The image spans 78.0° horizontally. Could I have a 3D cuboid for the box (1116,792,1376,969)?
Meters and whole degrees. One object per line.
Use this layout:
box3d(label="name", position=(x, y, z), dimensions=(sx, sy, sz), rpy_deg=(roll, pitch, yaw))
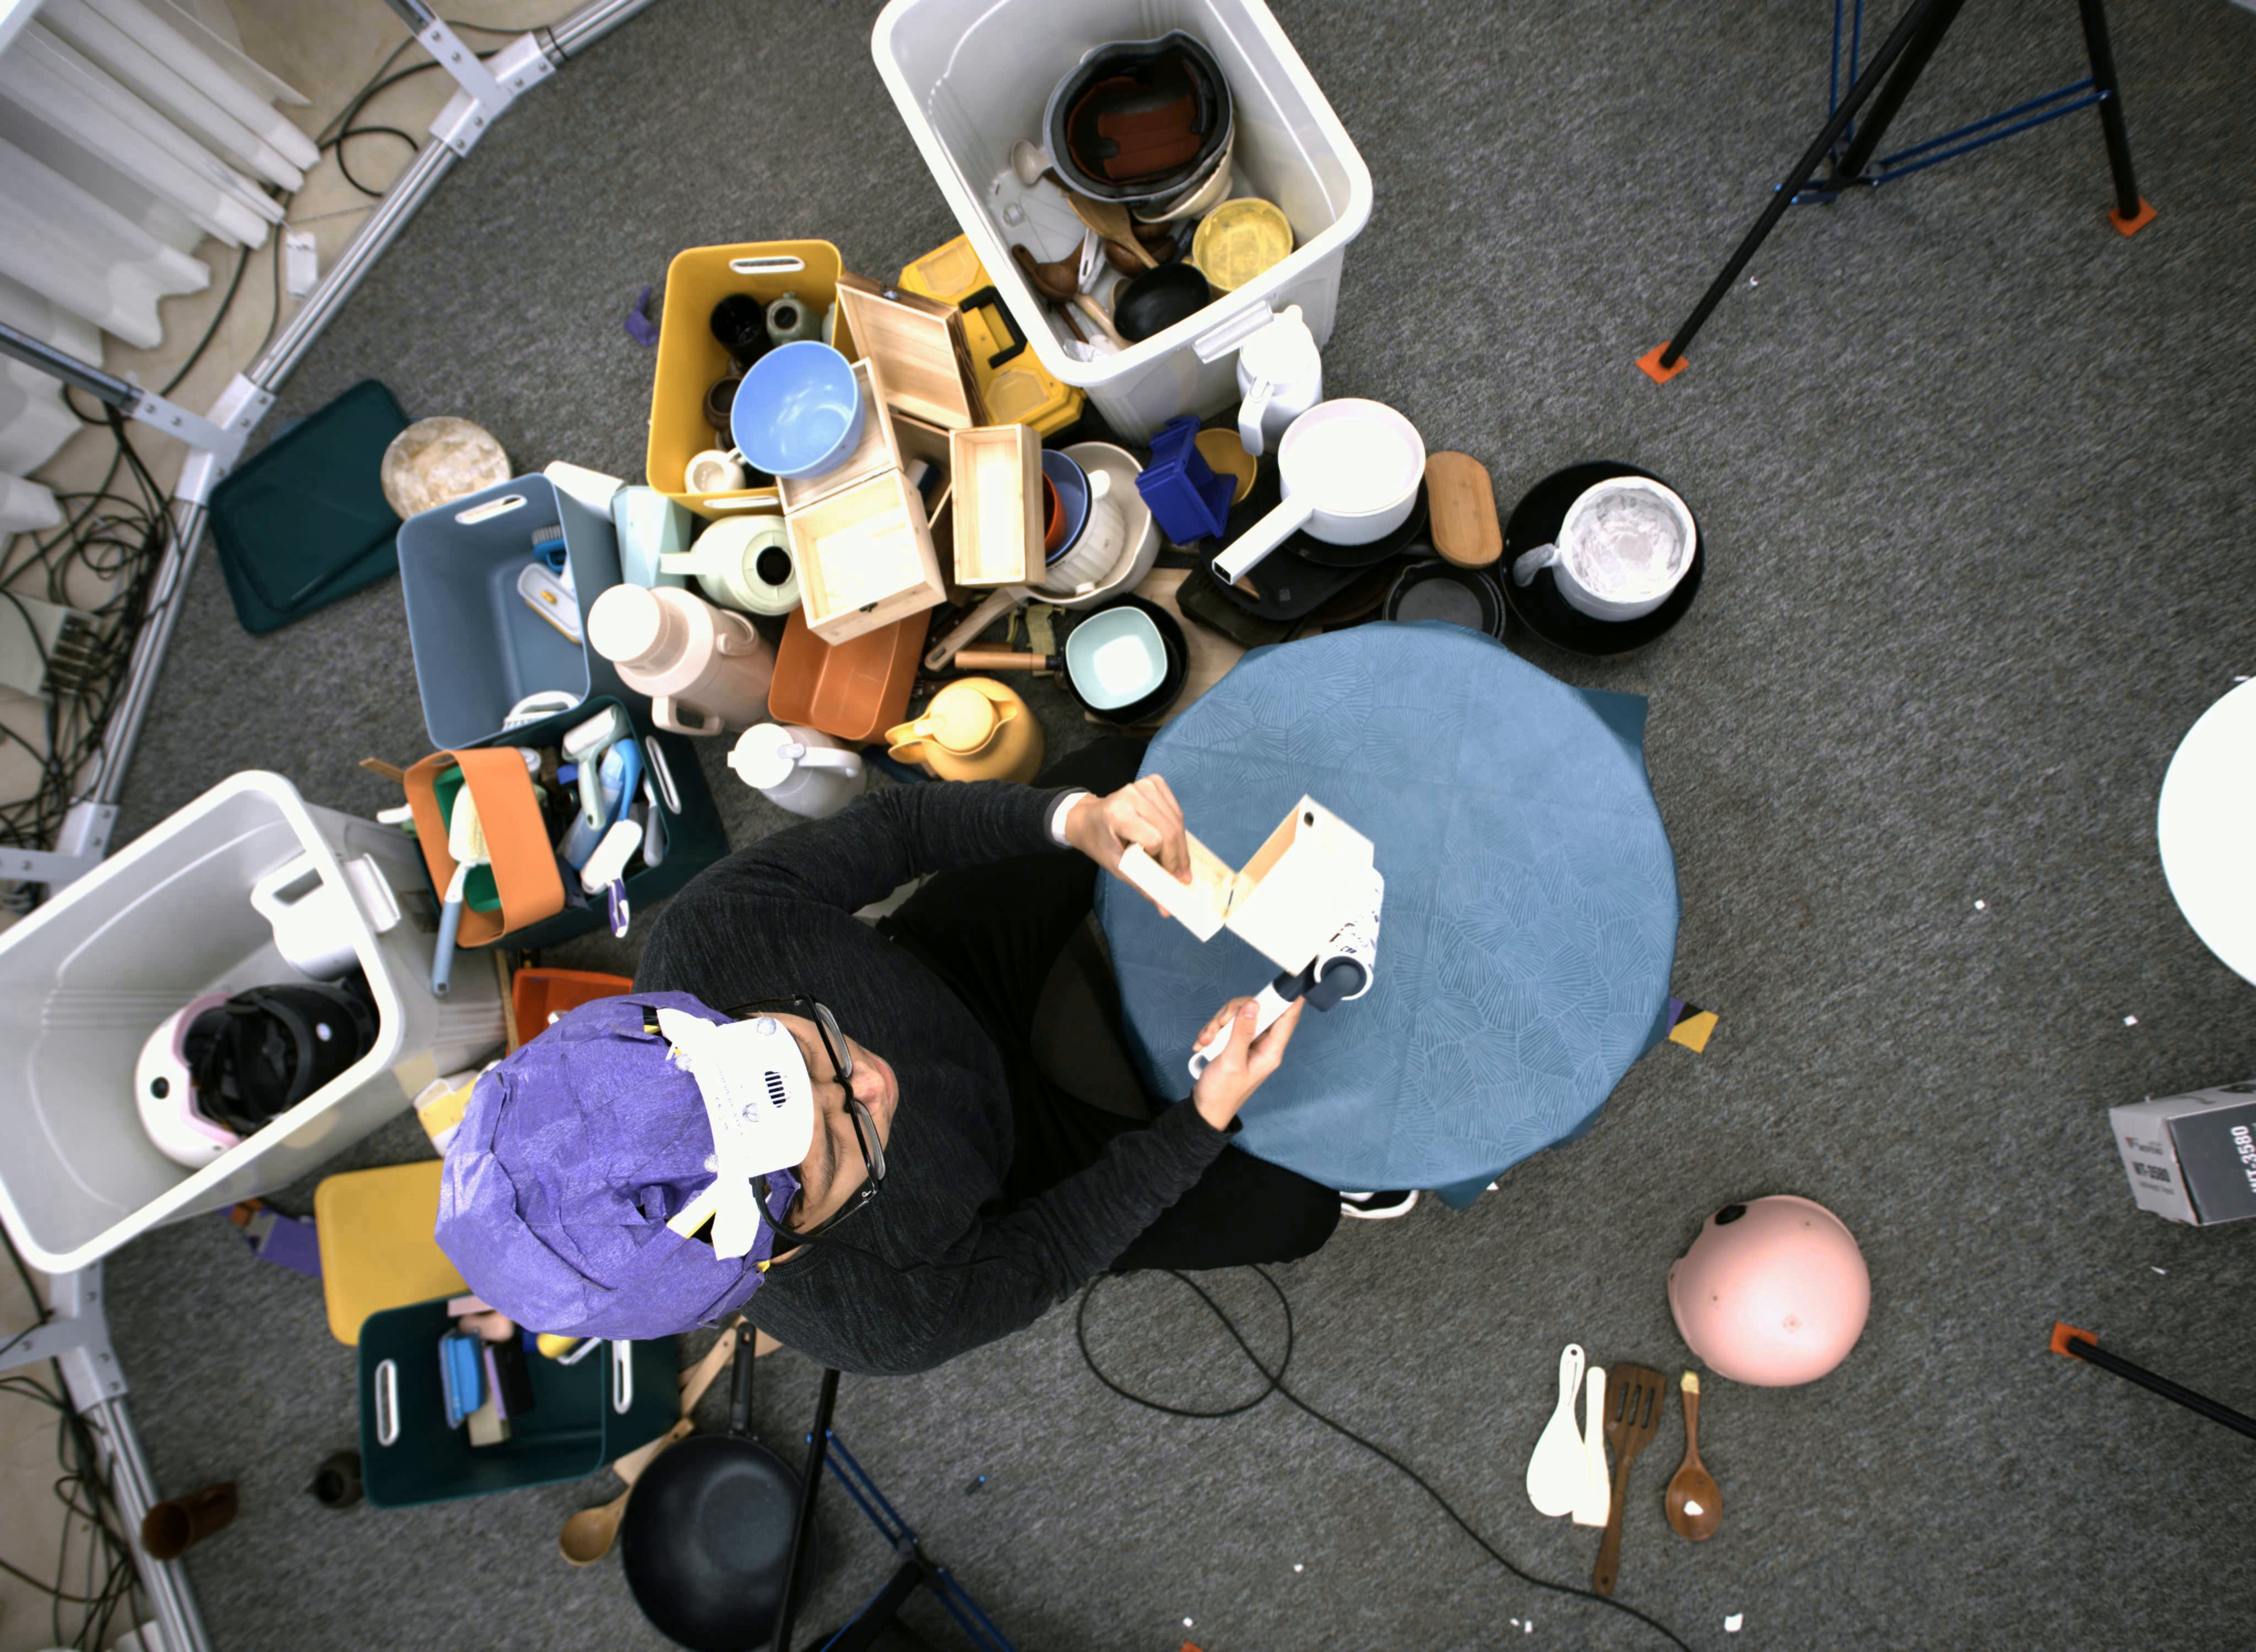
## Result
box3d(label="box", position=(0.105, 0.022, 1.202), dimensions=(0.185, 0.100, 0.136), rpy_deg=(35, 116, -5))

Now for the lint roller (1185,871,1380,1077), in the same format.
box3d(label="lint roller", position=(0.140, 0.157, 1.277), dimensions=(0.050, 0.172, 0.252), rpy_deg=(36, 122, -6))
